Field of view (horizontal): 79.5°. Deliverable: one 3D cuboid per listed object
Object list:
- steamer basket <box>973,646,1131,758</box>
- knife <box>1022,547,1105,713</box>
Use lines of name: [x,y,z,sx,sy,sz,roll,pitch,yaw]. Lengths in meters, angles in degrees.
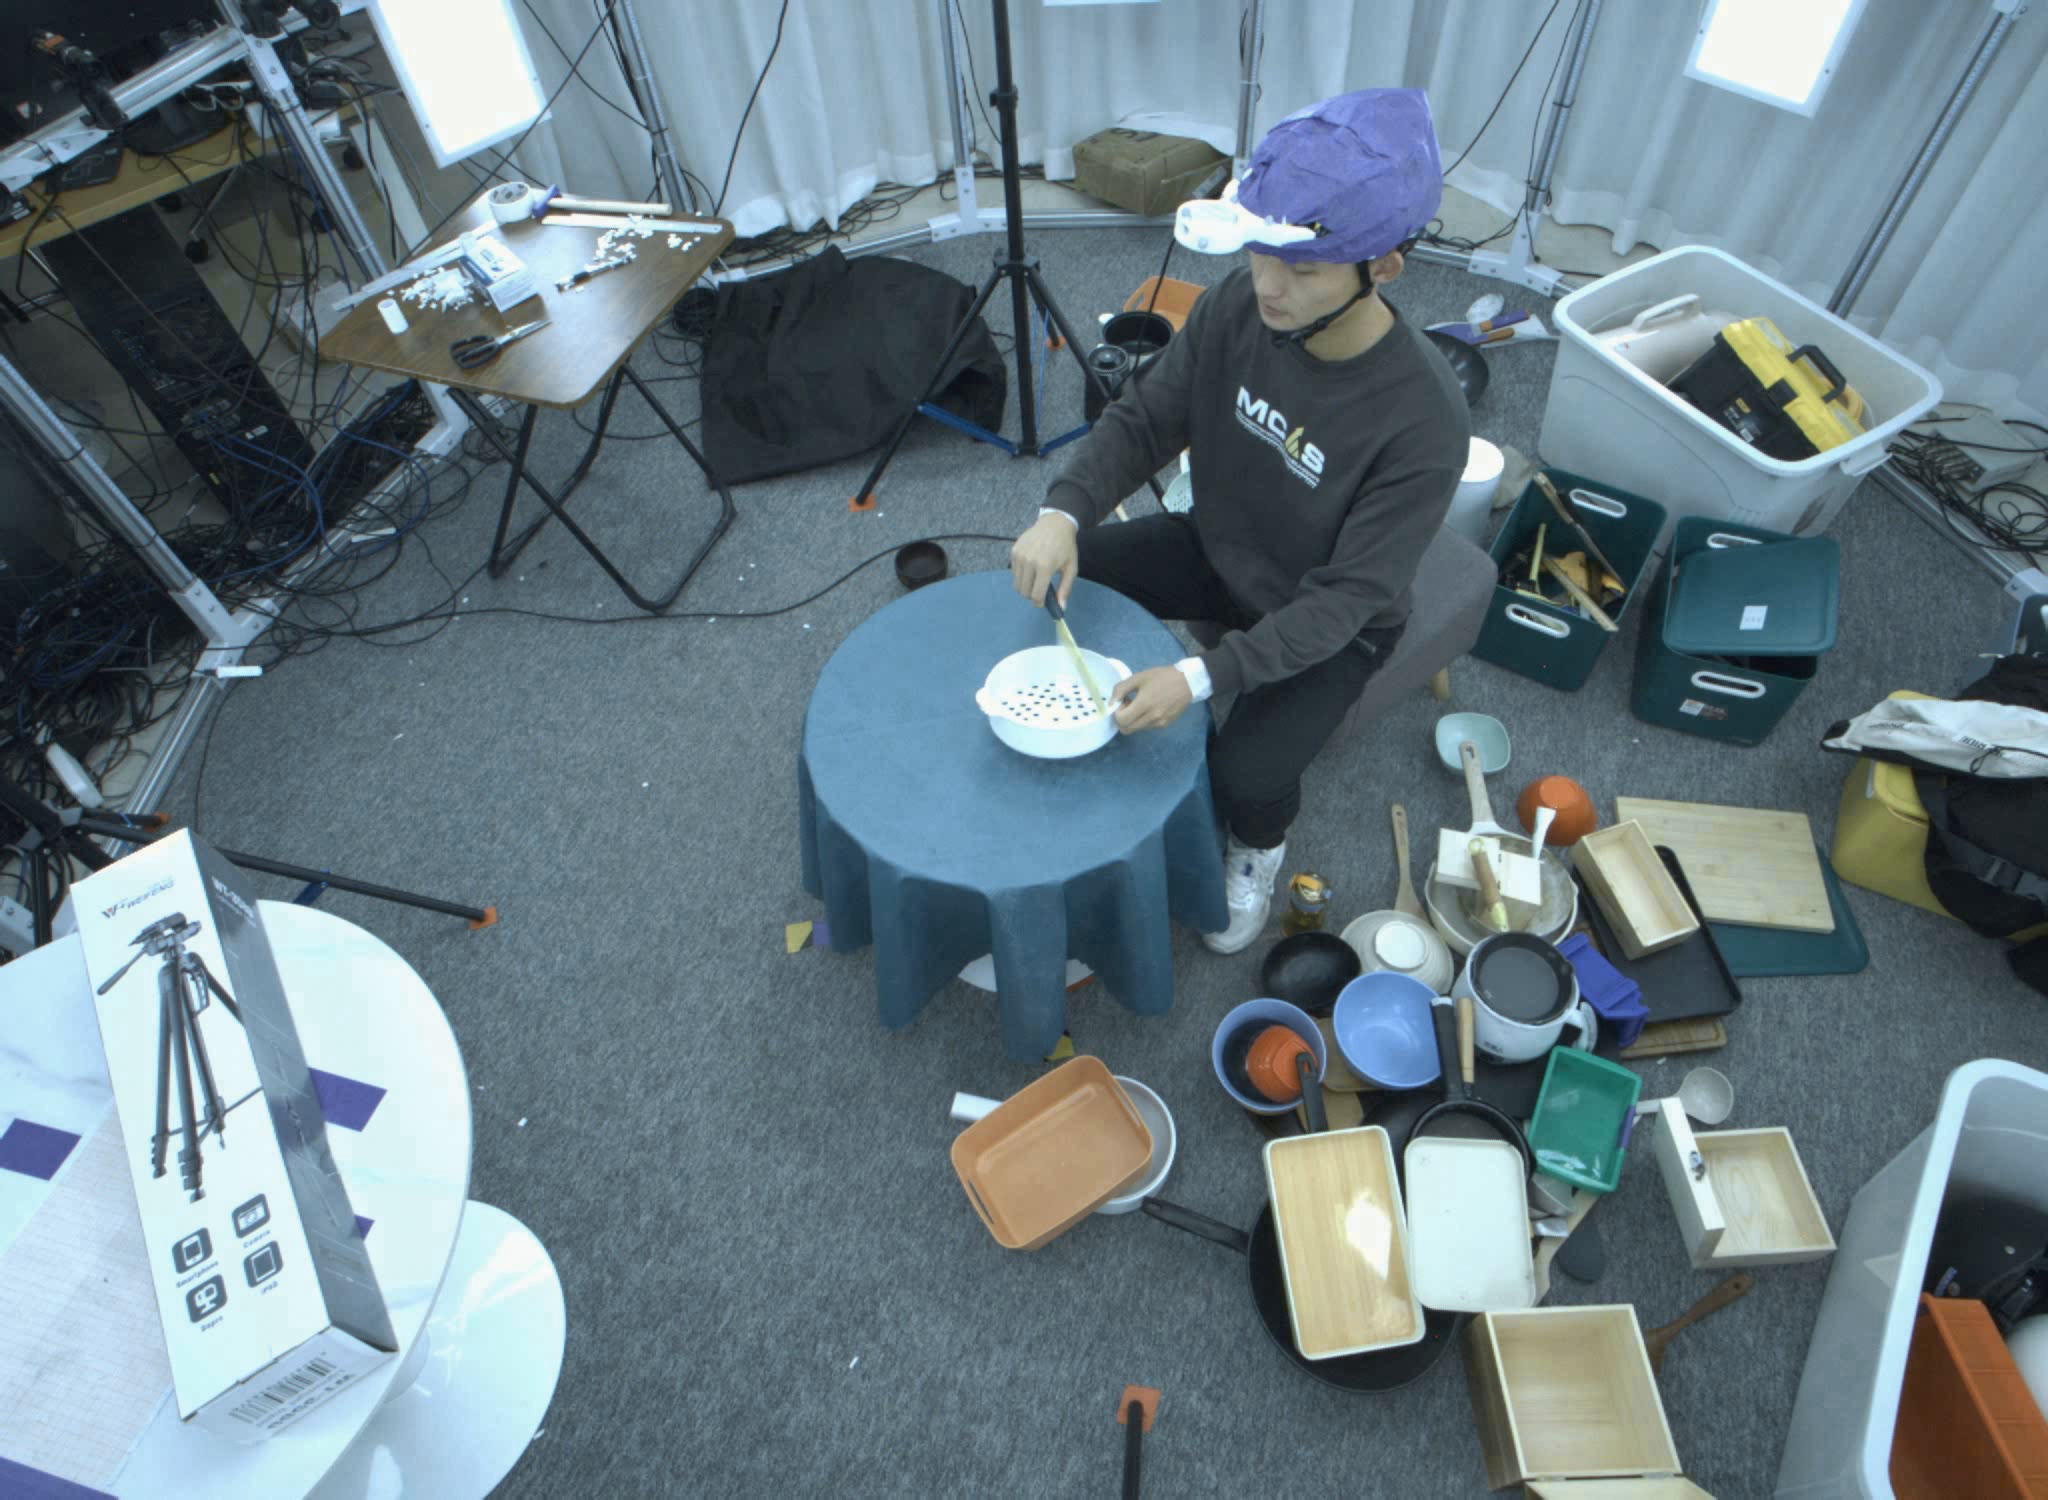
steamer basket: [0.040,-0.068,1.778,0.233,0.070,0.198,-12,41,-17]
knife: [0.060,-0.170,1.795,0.027,0.081,0.287,-22,76,-8]
